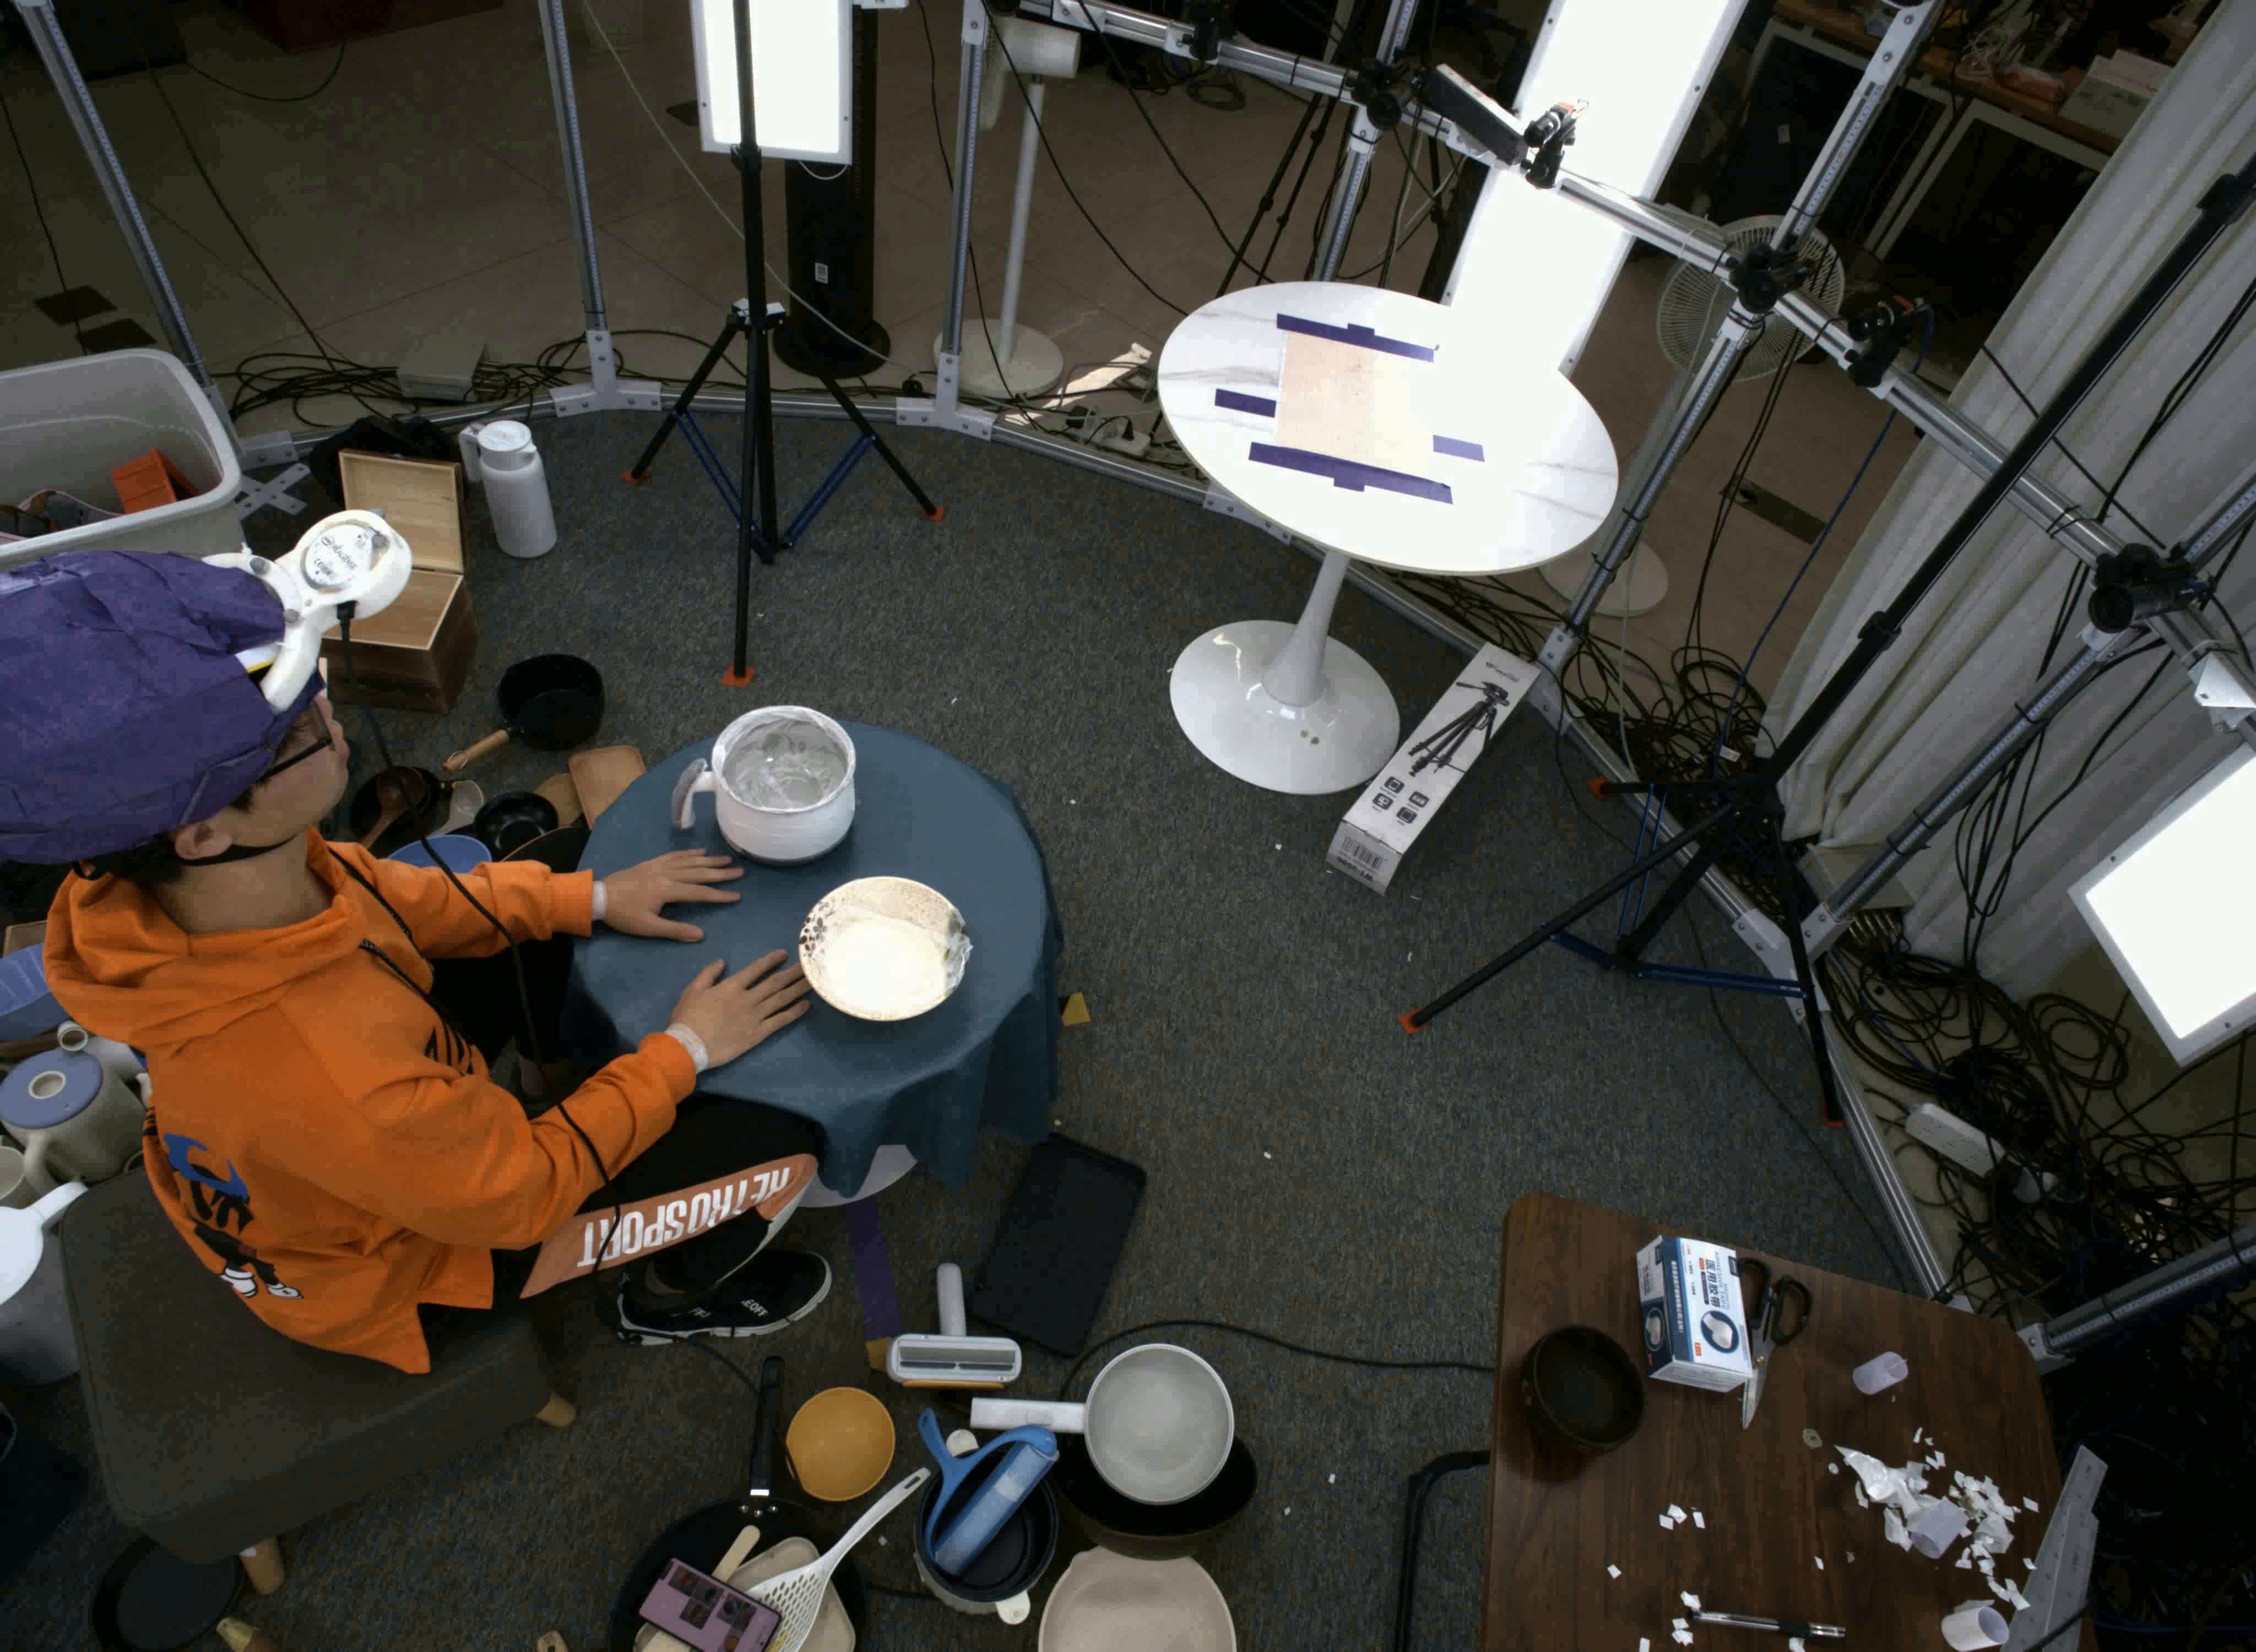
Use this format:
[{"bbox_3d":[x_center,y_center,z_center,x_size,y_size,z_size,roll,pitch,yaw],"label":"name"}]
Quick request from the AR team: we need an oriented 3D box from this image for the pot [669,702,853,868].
[{"bbox_3d":[-0.467,-0.046,1.648,0.235,0.139,0.174,-7,54,-19],"label":"pot"}]

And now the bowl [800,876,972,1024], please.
[{"bbox_3d":[-0.292,0.164,1.580,0.203,0.079,0.200,6,55,-6],"label":"bowl"}]
